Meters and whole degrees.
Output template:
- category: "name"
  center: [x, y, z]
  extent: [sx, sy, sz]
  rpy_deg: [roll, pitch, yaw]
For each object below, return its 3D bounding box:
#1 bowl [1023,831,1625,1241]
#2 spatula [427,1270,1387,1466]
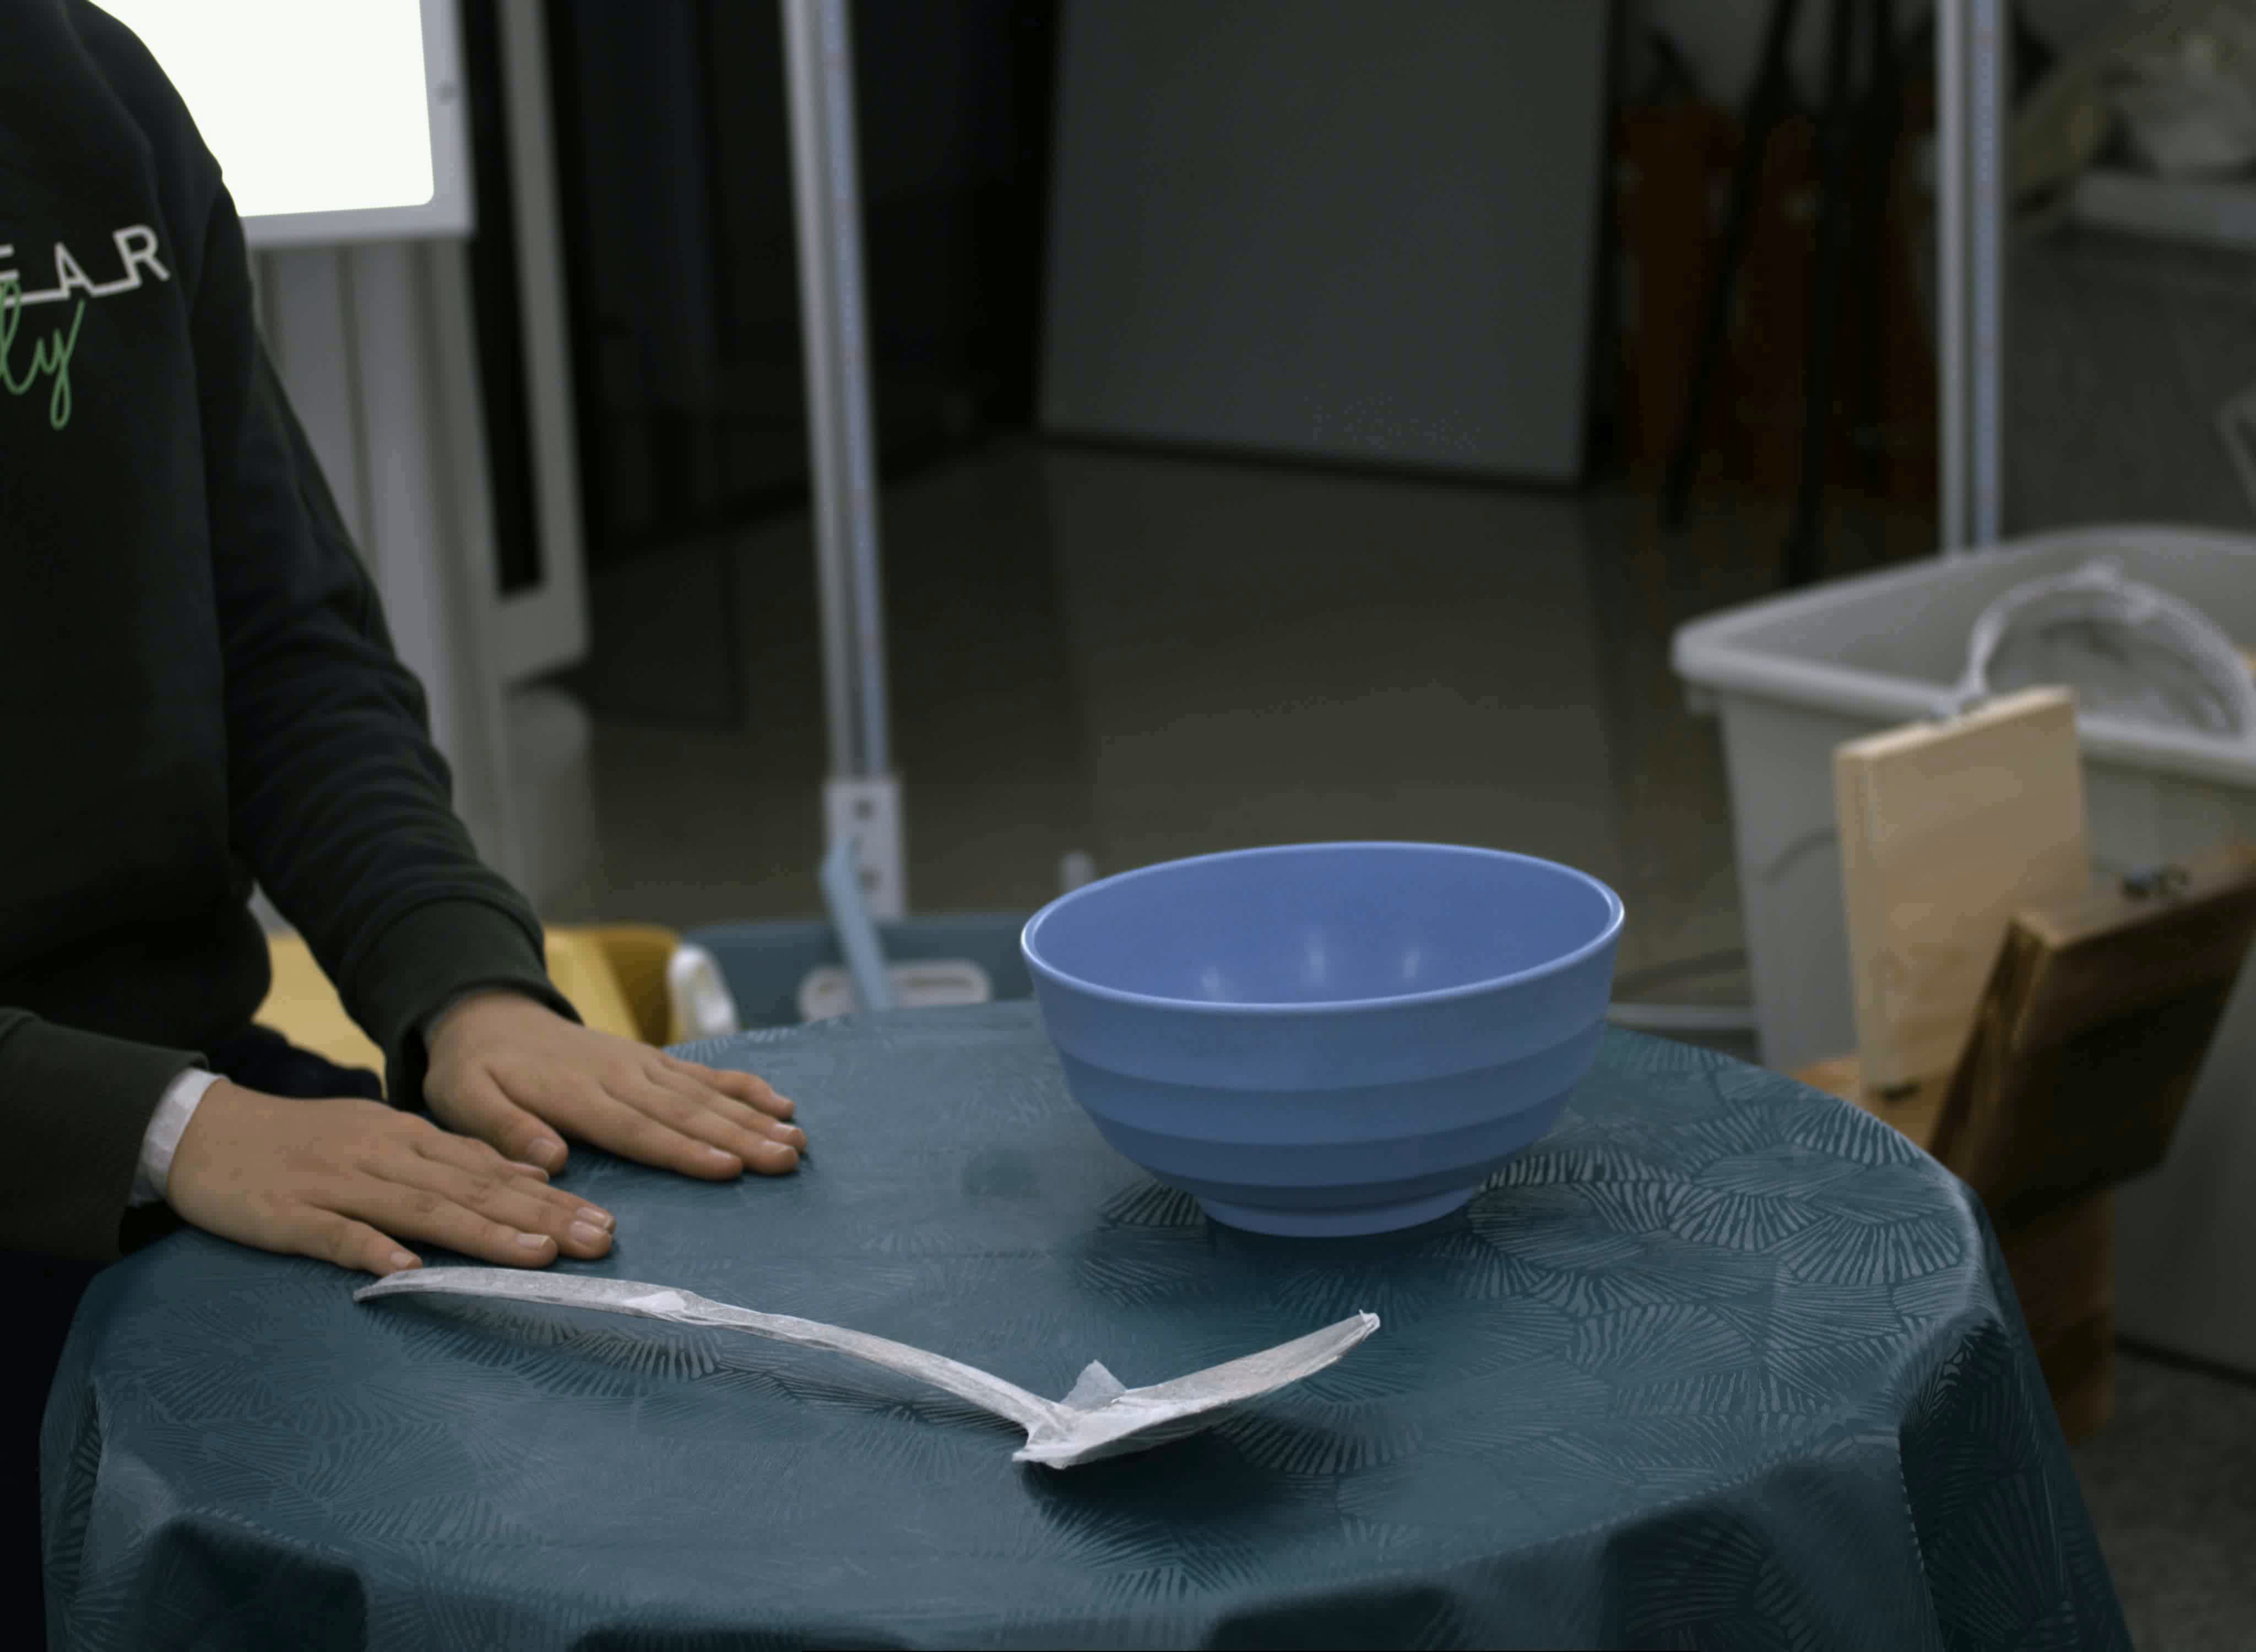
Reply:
- category: "bowl"
  center: [0.065, 0.074, 1.742]
  extent: [0.194, 0.096, 0.197]
  rpy_deg: [-4, 15, 0]
- category: "spatula"
  center: [-0.086, 0.149, 1.604]
  extent: [0.367, 0.045, 0.097]
  rpy_deg: [7, 19, 38]
